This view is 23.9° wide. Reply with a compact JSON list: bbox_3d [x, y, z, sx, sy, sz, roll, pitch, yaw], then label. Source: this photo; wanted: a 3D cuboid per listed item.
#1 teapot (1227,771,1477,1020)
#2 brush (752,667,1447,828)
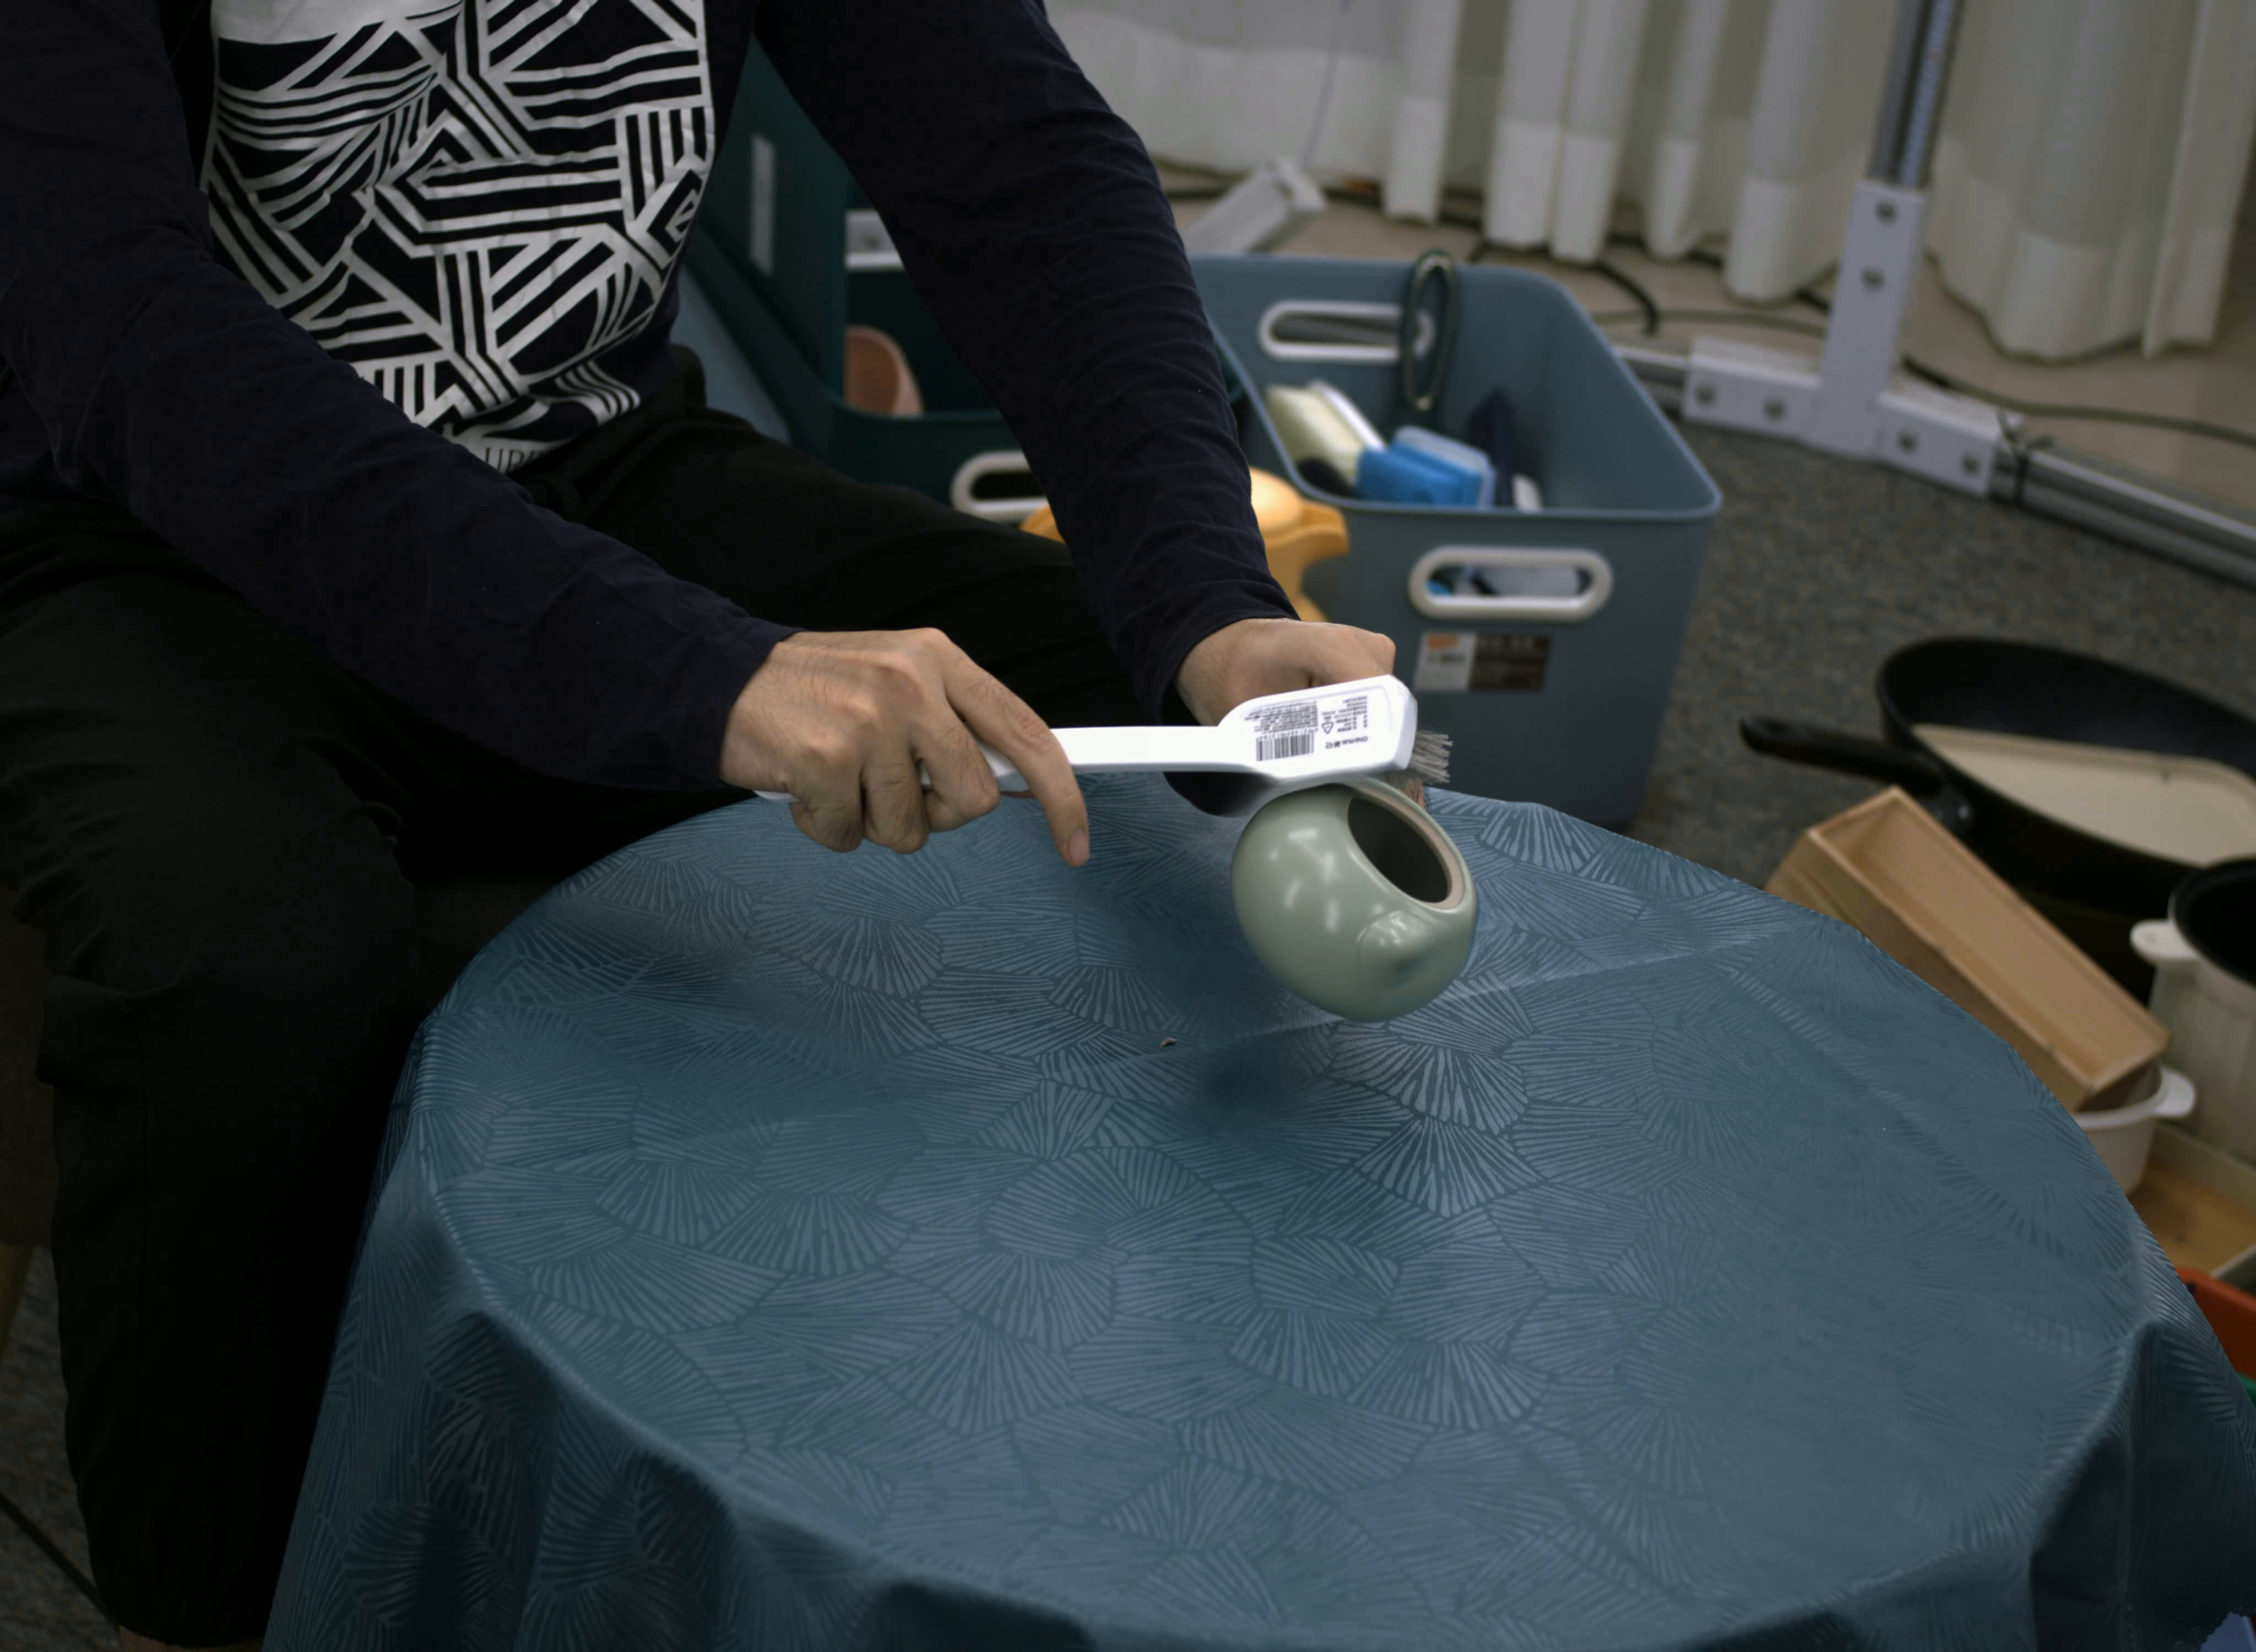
[{"bbox_3d":[0.078,0.020,1.880,0.091,0.061,0.129,27,33,-18],"label":"teapot"},{"bbox_3d":[-0.010,-0.021,1.867,0.243,0.034,0.050,-8,-14,9],"label":"brush"}]
